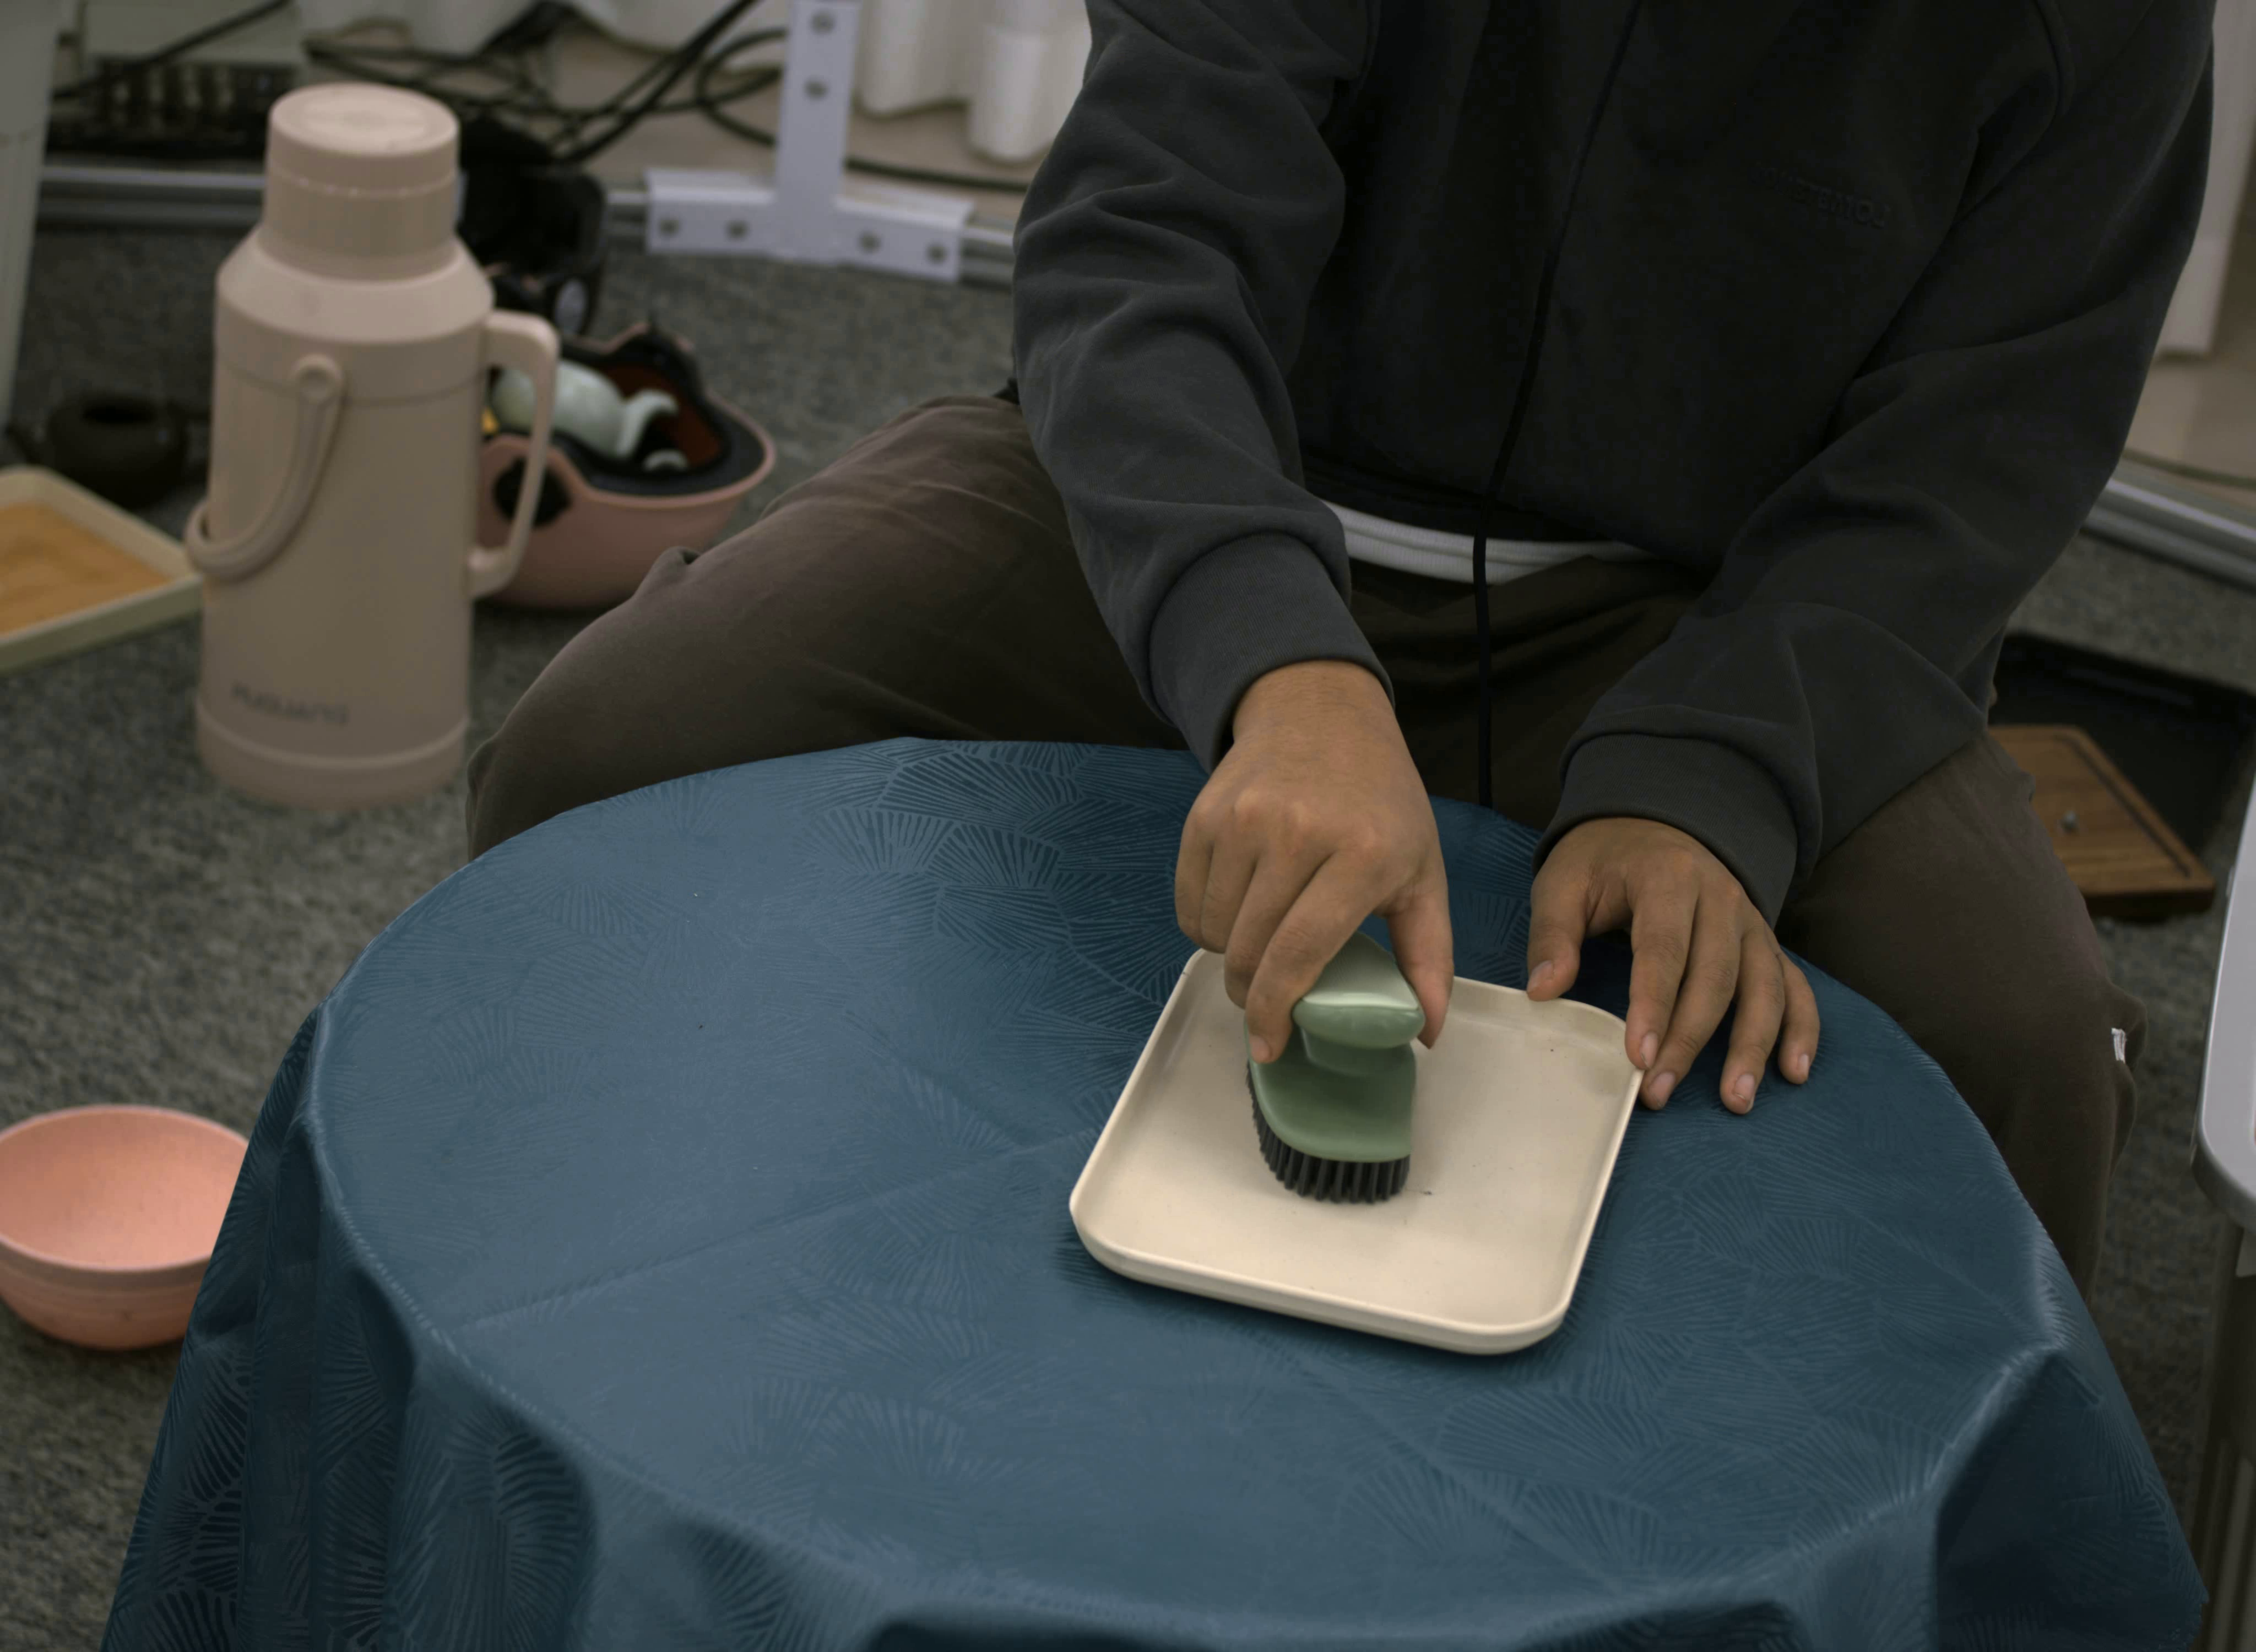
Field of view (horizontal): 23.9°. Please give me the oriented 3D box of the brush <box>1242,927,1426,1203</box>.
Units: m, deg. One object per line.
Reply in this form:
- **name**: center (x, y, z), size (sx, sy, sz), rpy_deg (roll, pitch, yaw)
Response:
- **brush**: center (0.072, 0.081, 1.844), size (0.059, 0.076, 0.123), rpy_deg (3, 13, -7)

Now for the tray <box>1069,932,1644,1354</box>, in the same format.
- **tray**: center (0.082, 0.108, 1.836), size (0.171, 0.017, 0.240), rpy_deg (12, 27, 9)
